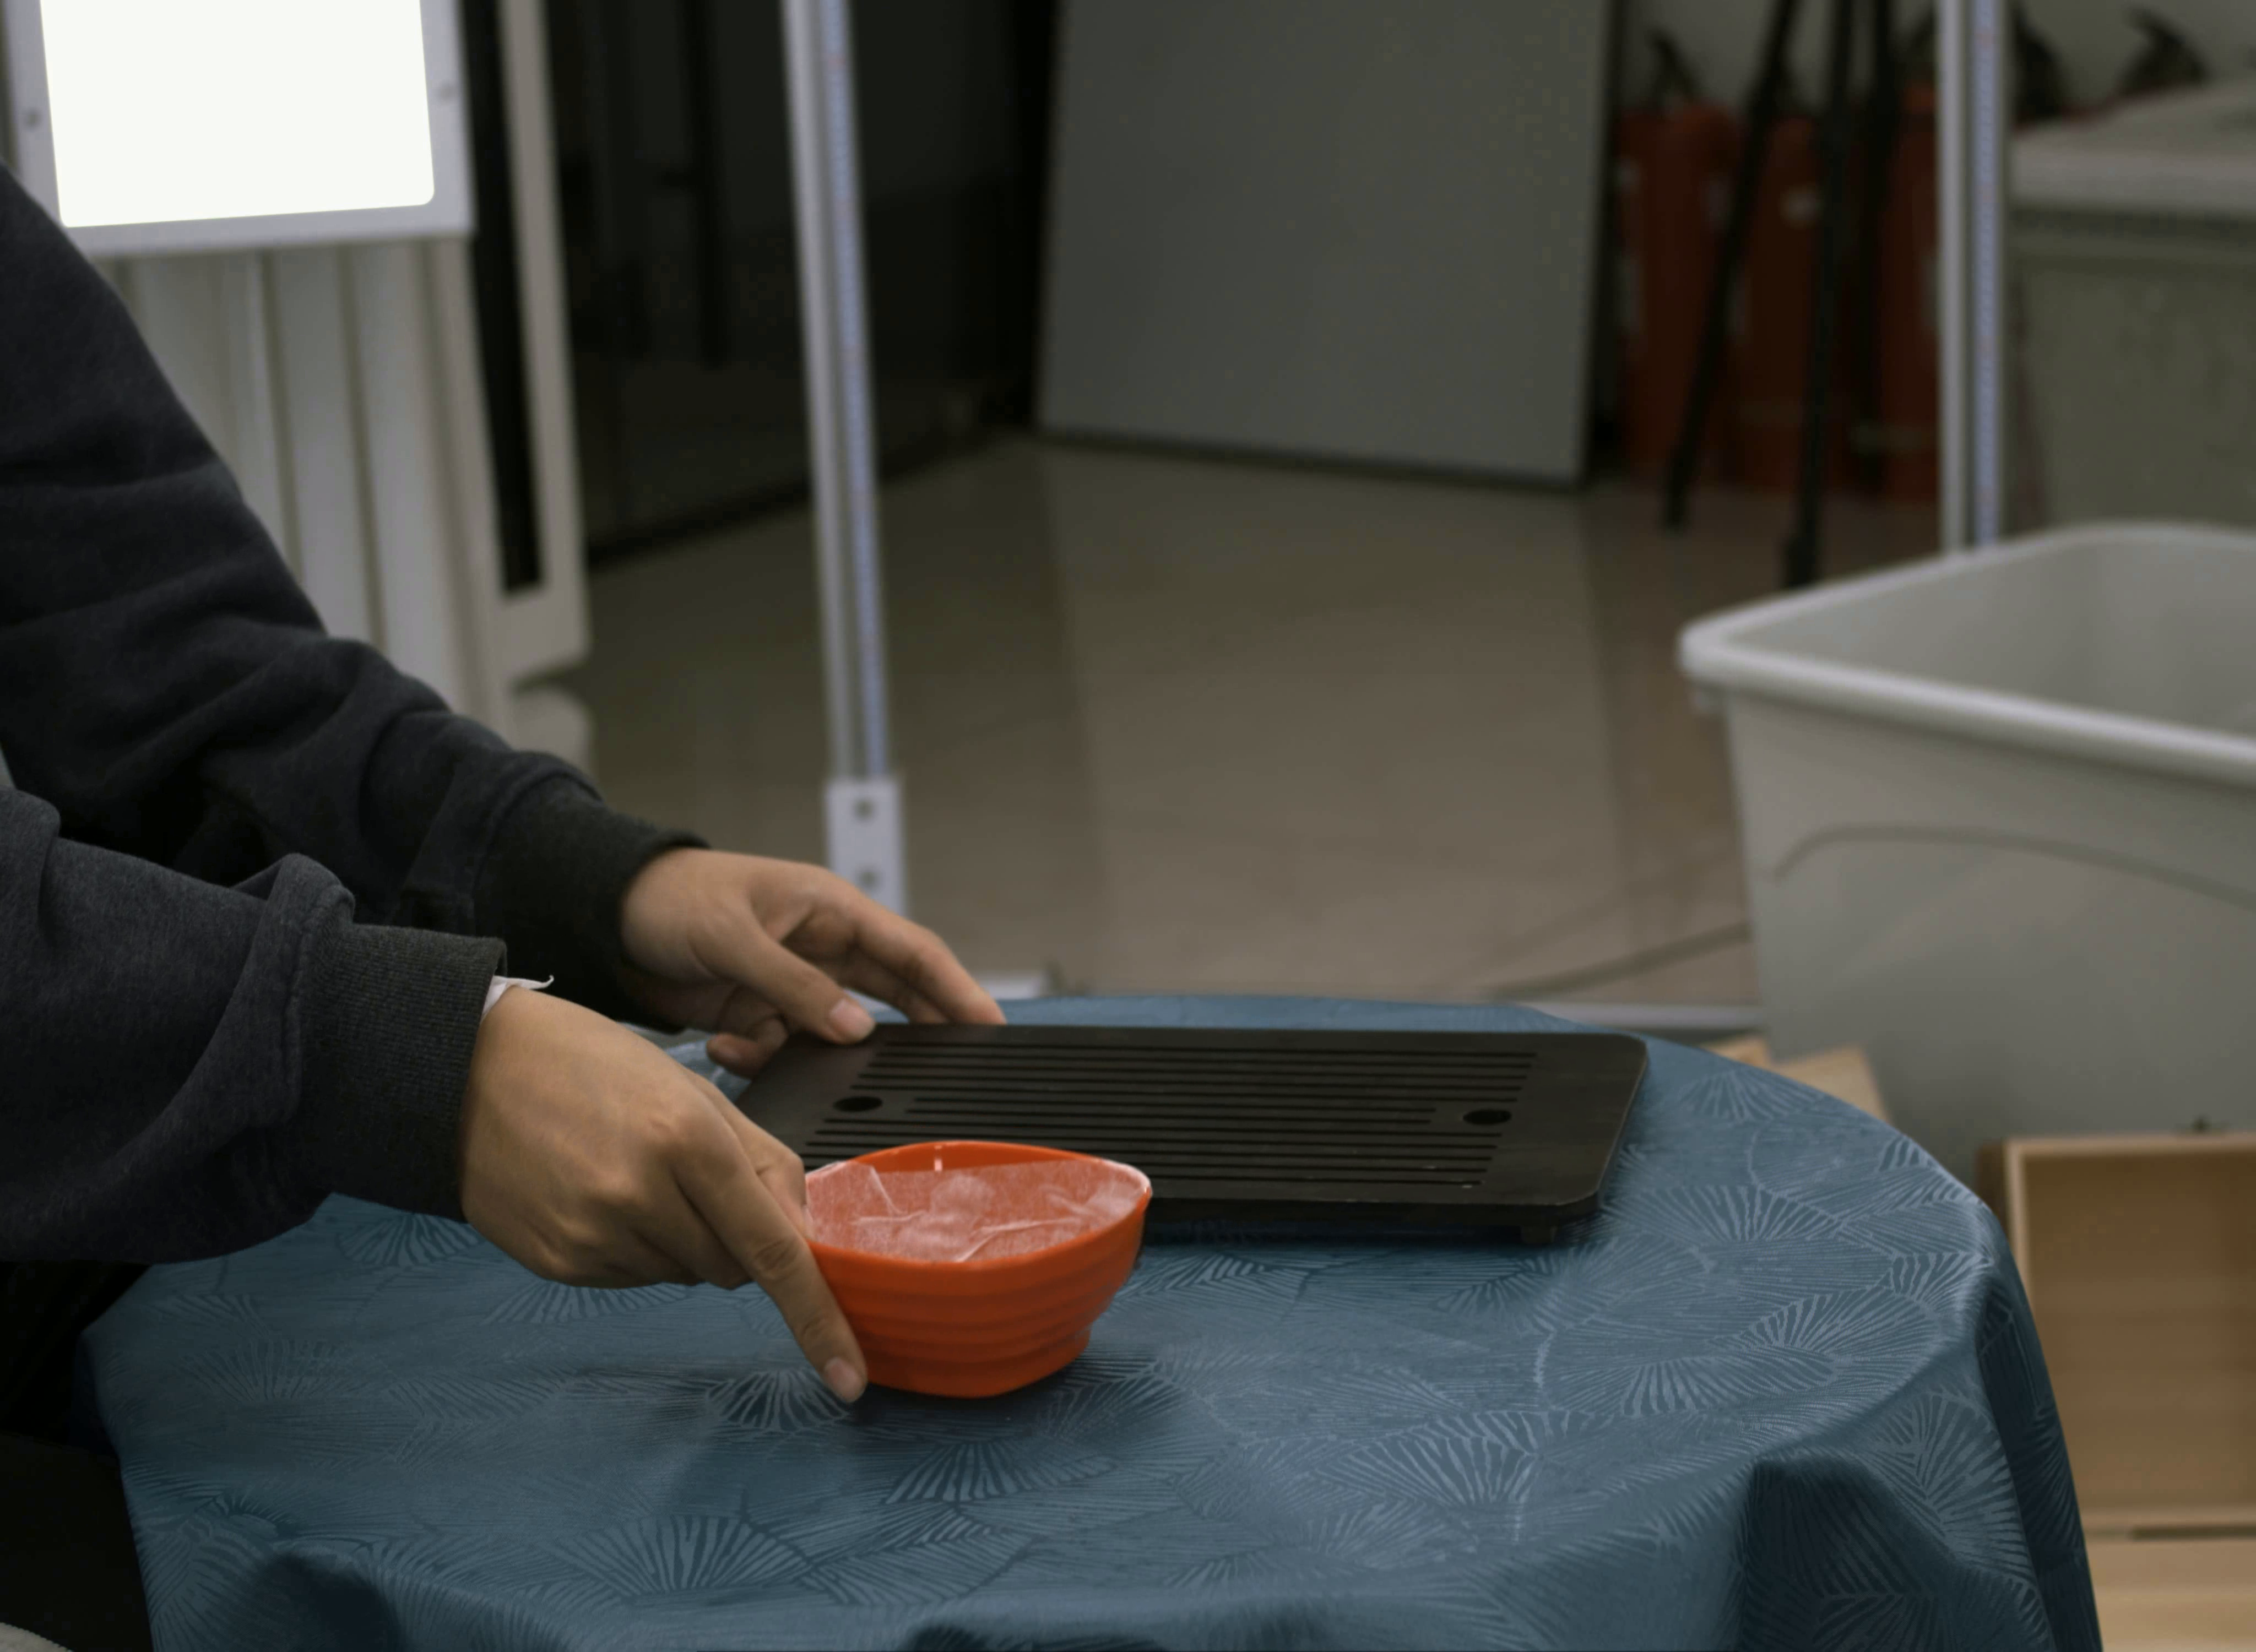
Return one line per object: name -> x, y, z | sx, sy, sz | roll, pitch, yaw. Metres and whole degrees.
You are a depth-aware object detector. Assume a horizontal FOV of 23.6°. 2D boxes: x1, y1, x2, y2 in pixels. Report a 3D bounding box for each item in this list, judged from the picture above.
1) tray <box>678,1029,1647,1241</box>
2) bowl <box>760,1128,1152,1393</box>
tray -> 0.015, 0.102, 1.792 | 0.304, 0.019, 0.169 | 0, 16, 14
bowl -> -0.050, 0.131, 1.603 | 0.117, 0.052, 0.119 | -3, 15, 0
